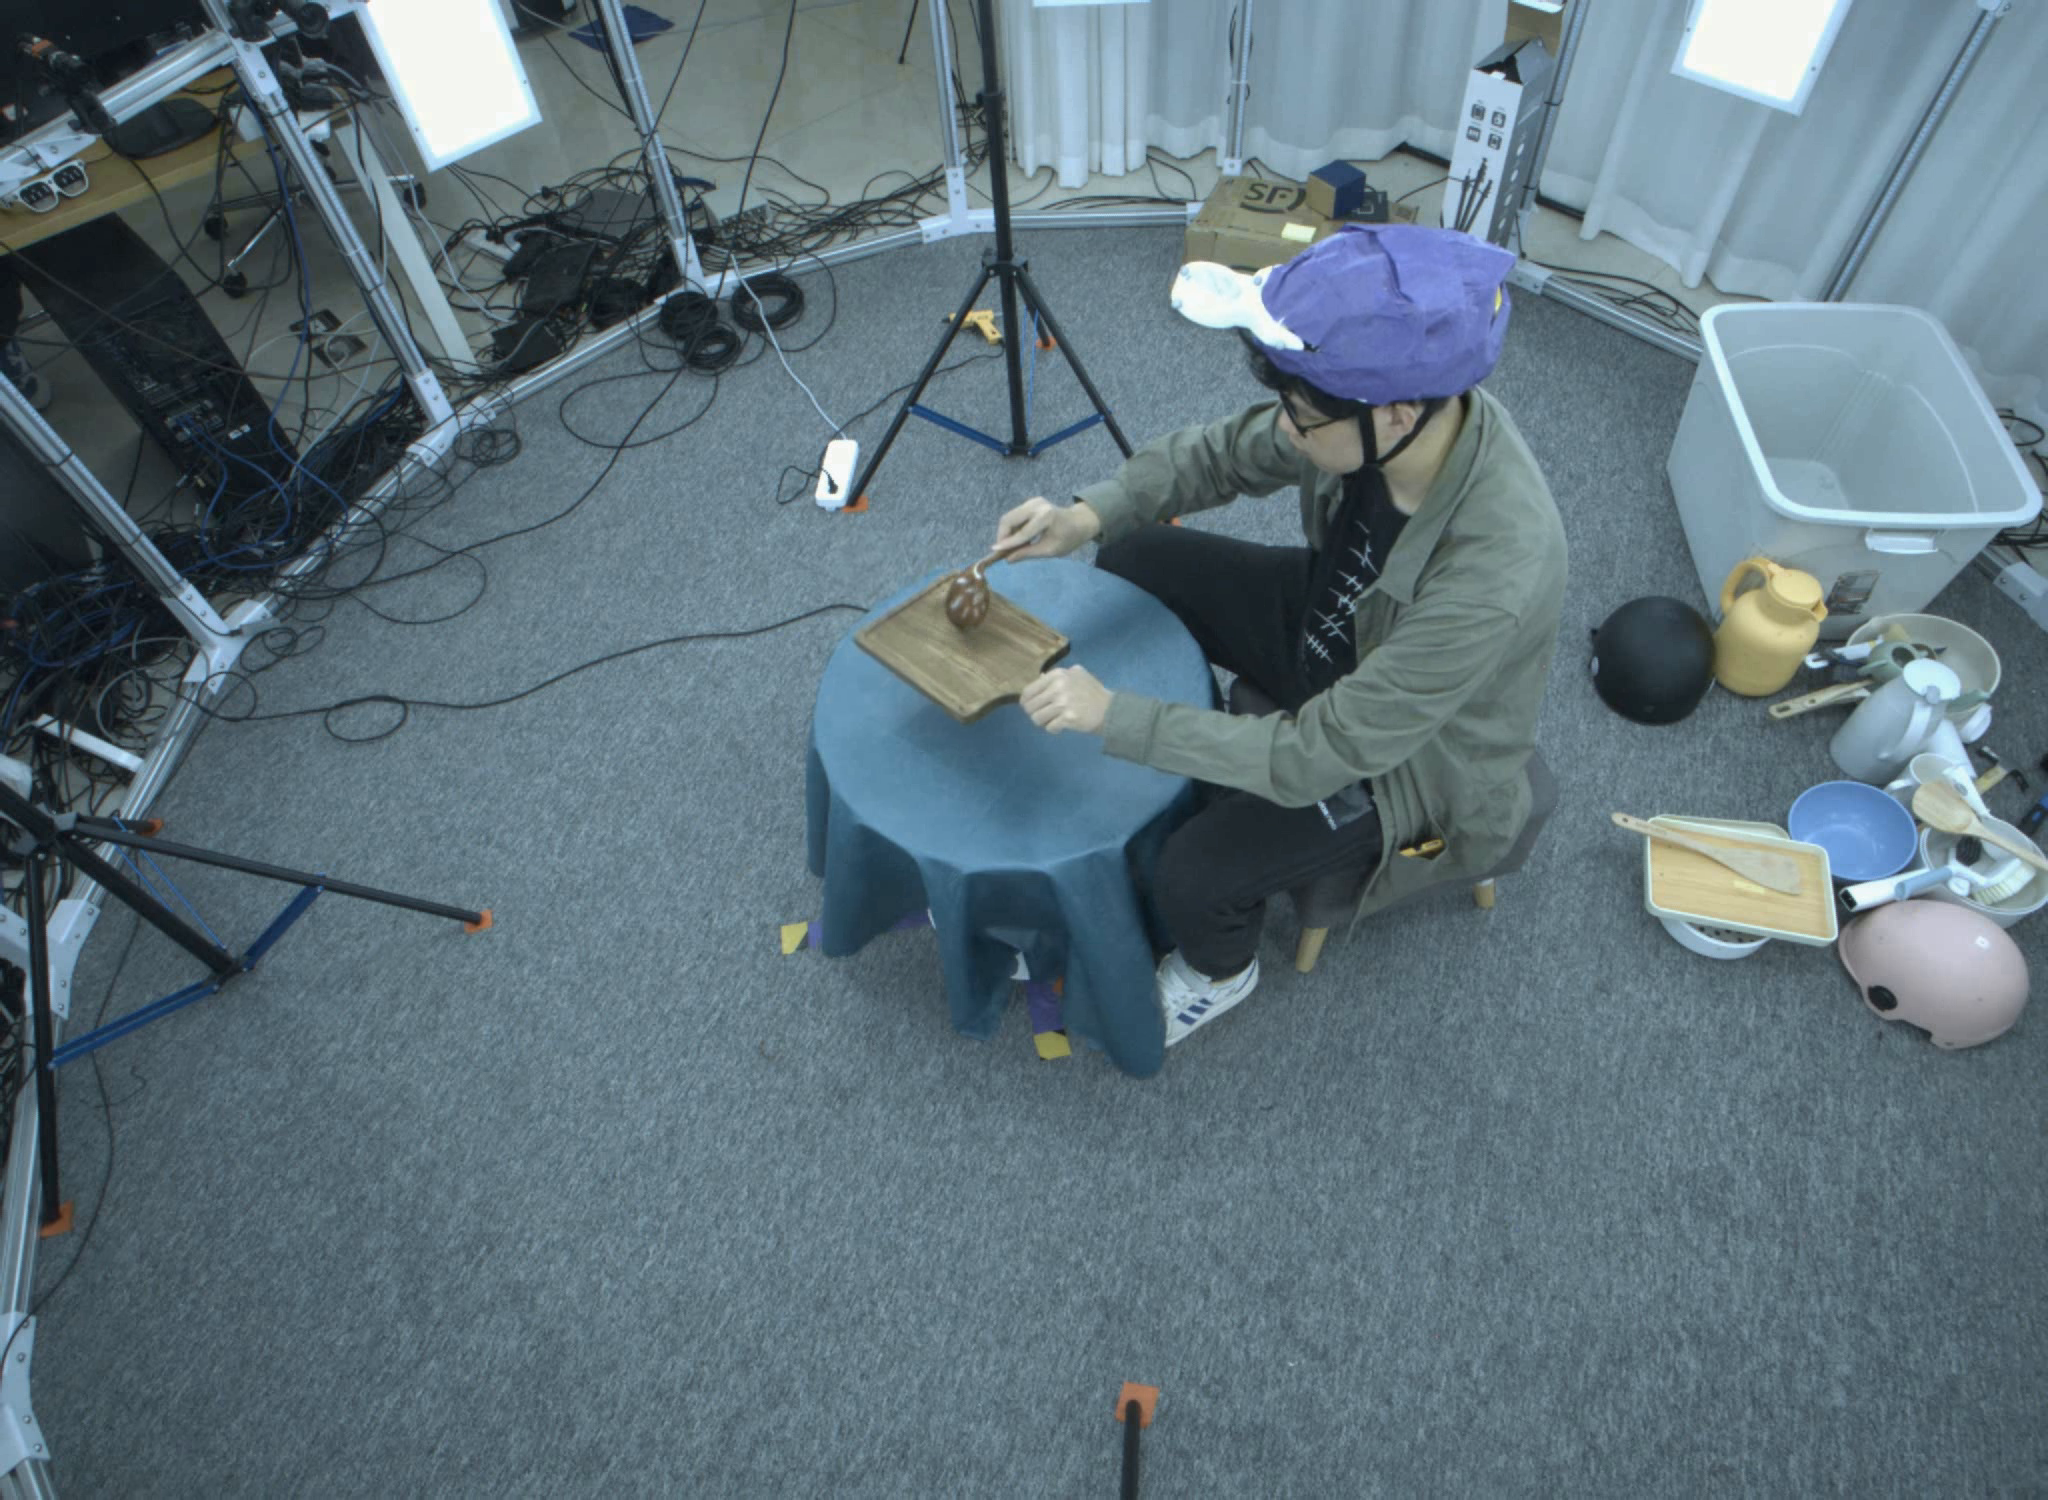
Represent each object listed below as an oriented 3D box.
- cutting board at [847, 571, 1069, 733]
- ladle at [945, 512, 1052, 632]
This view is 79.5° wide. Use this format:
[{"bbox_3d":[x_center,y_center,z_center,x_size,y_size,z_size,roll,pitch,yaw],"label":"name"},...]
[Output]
[{"bbox_3d":[-0.066,-0.119,1.675,0.202,0.023,0.345,-36,55,-23],"label":"cutting board"},{"bbox_3d":[-0.022,-0.256,1.749,0.080,0.077,0.276,-12,22,42],"label":"ladle"}]
